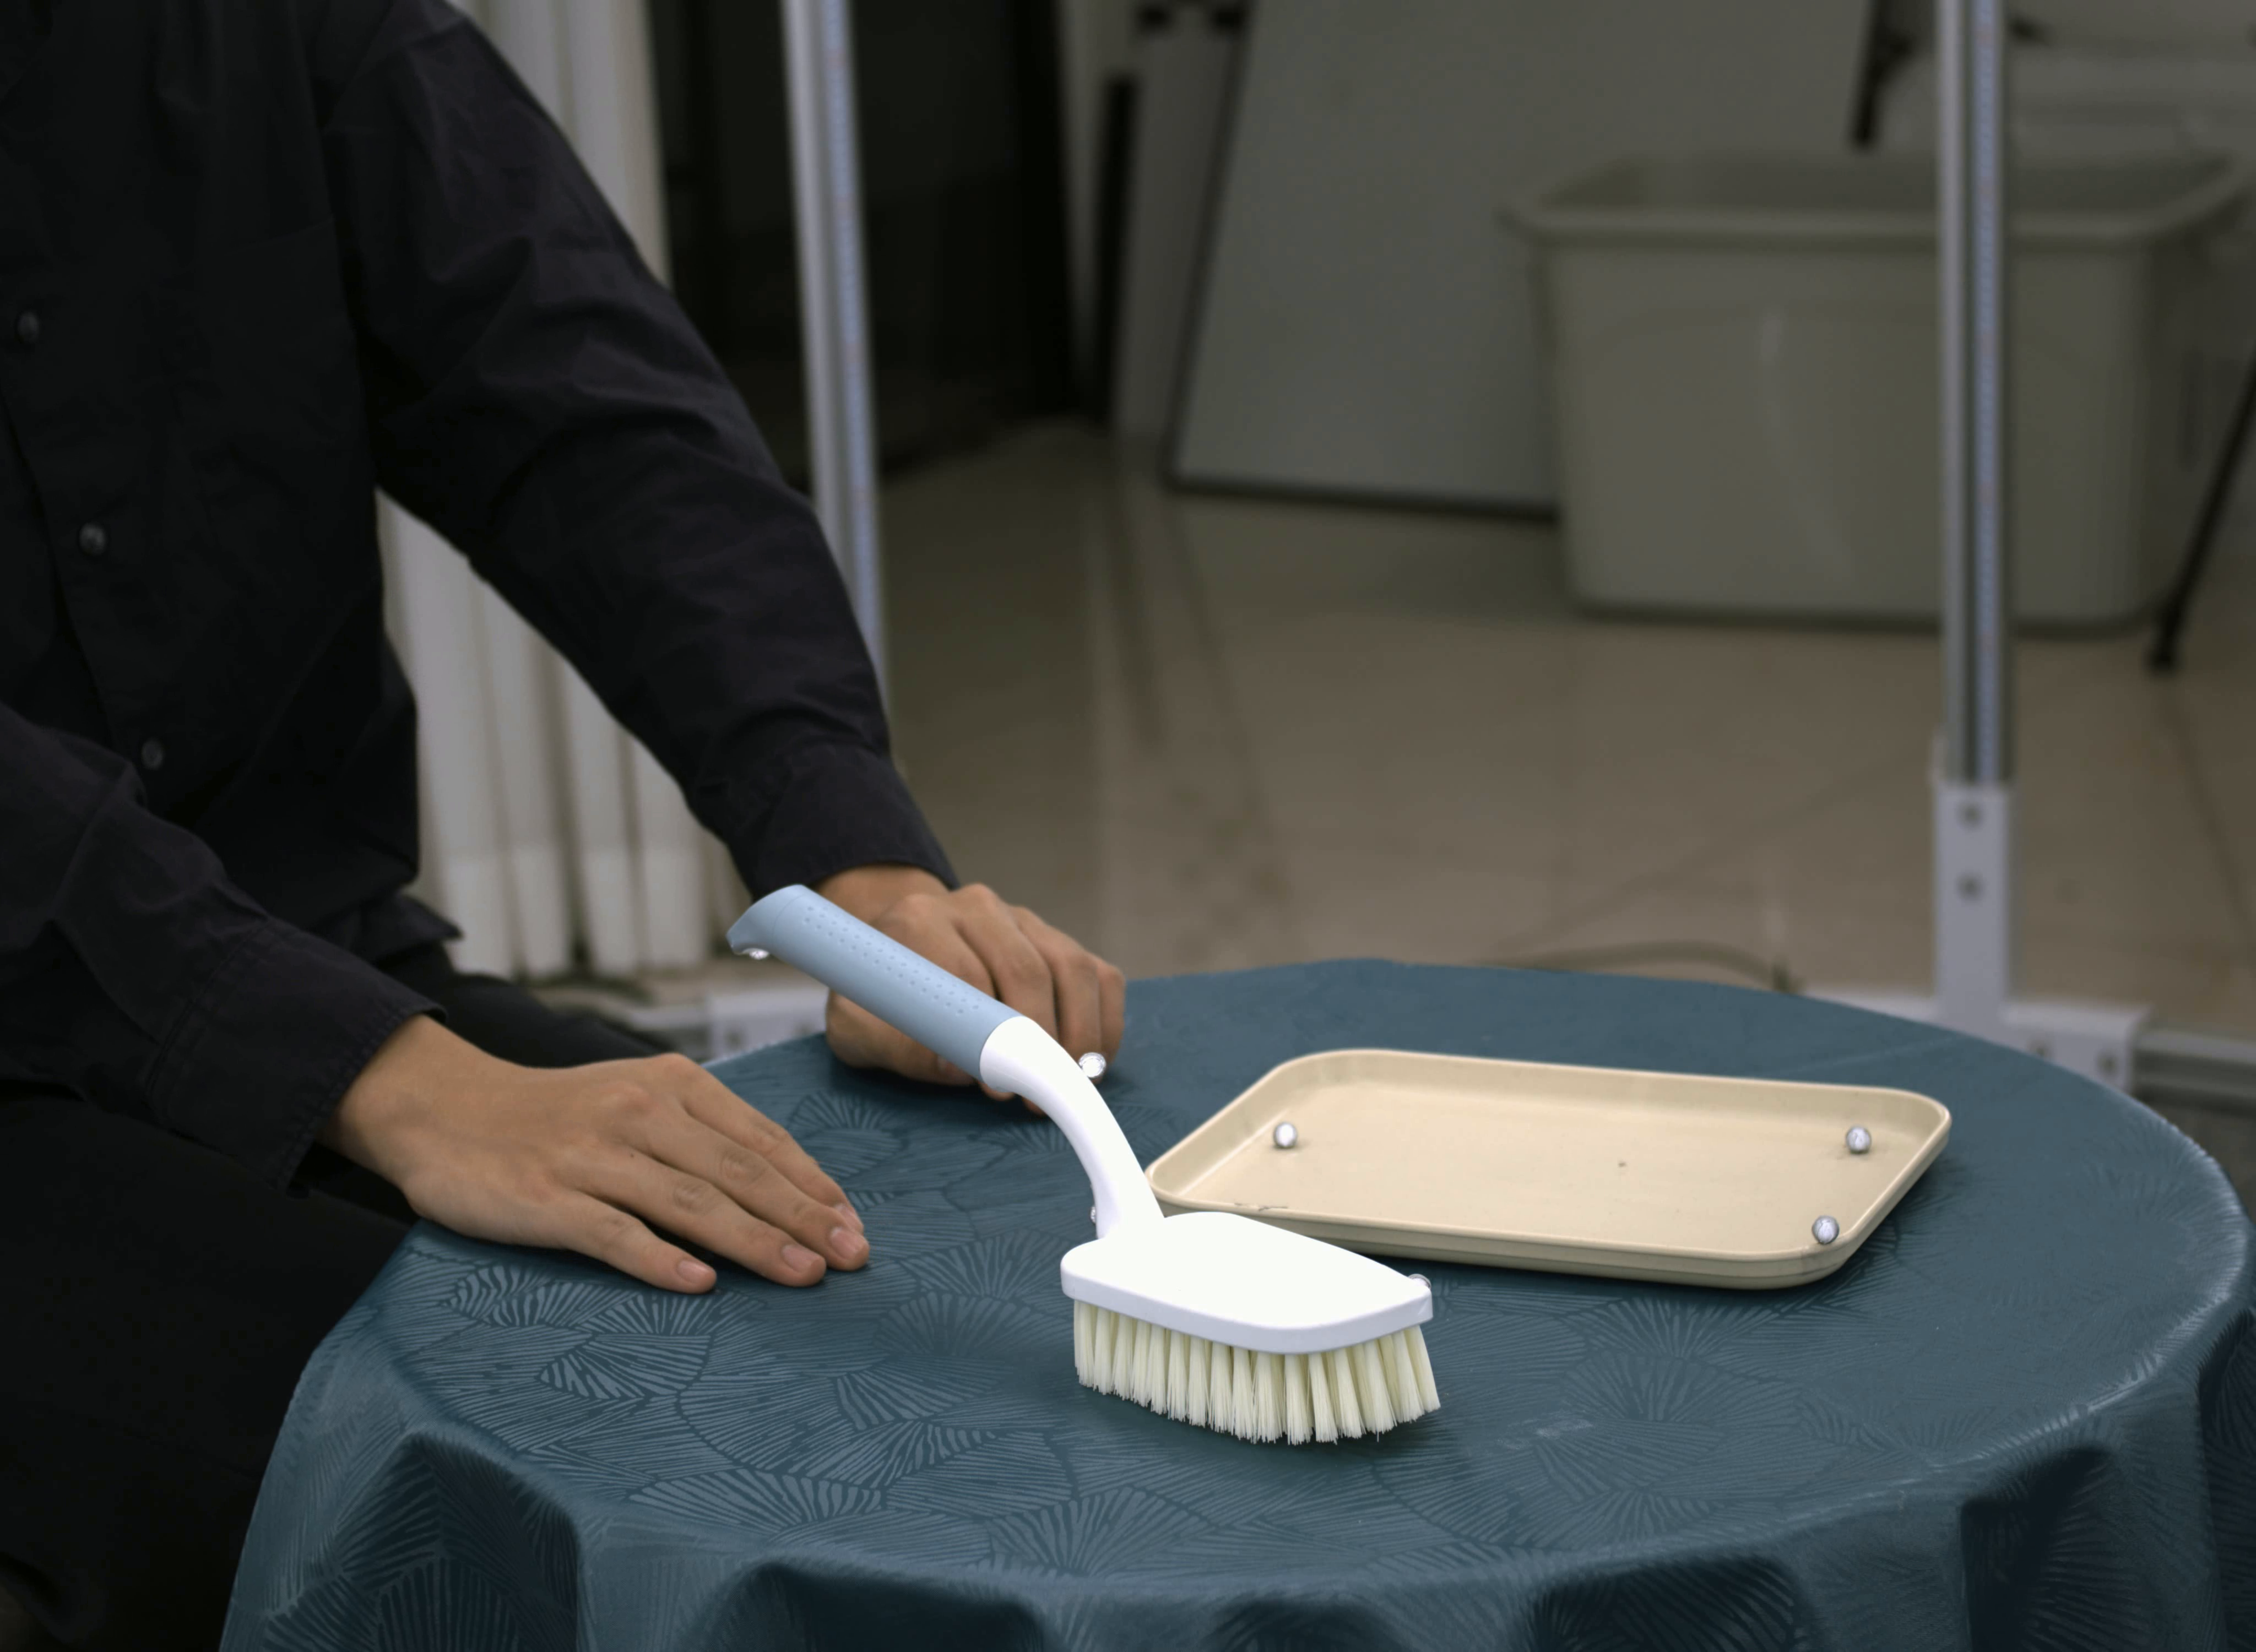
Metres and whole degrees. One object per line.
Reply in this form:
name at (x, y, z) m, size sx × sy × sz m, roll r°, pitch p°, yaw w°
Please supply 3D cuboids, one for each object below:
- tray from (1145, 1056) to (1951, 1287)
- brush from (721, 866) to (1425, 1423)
tray at (0.137, 0.111, 1.739) m, size 0.240 × 0.017 × 0.169 m, roll 3°, pitch 15°, yaw 25°
brush at (-0.022, 0.110, 1.646) m, size 0.329 × 0.085 × 0.082 m, roll 29°, pitch -4°, yaw 45°
